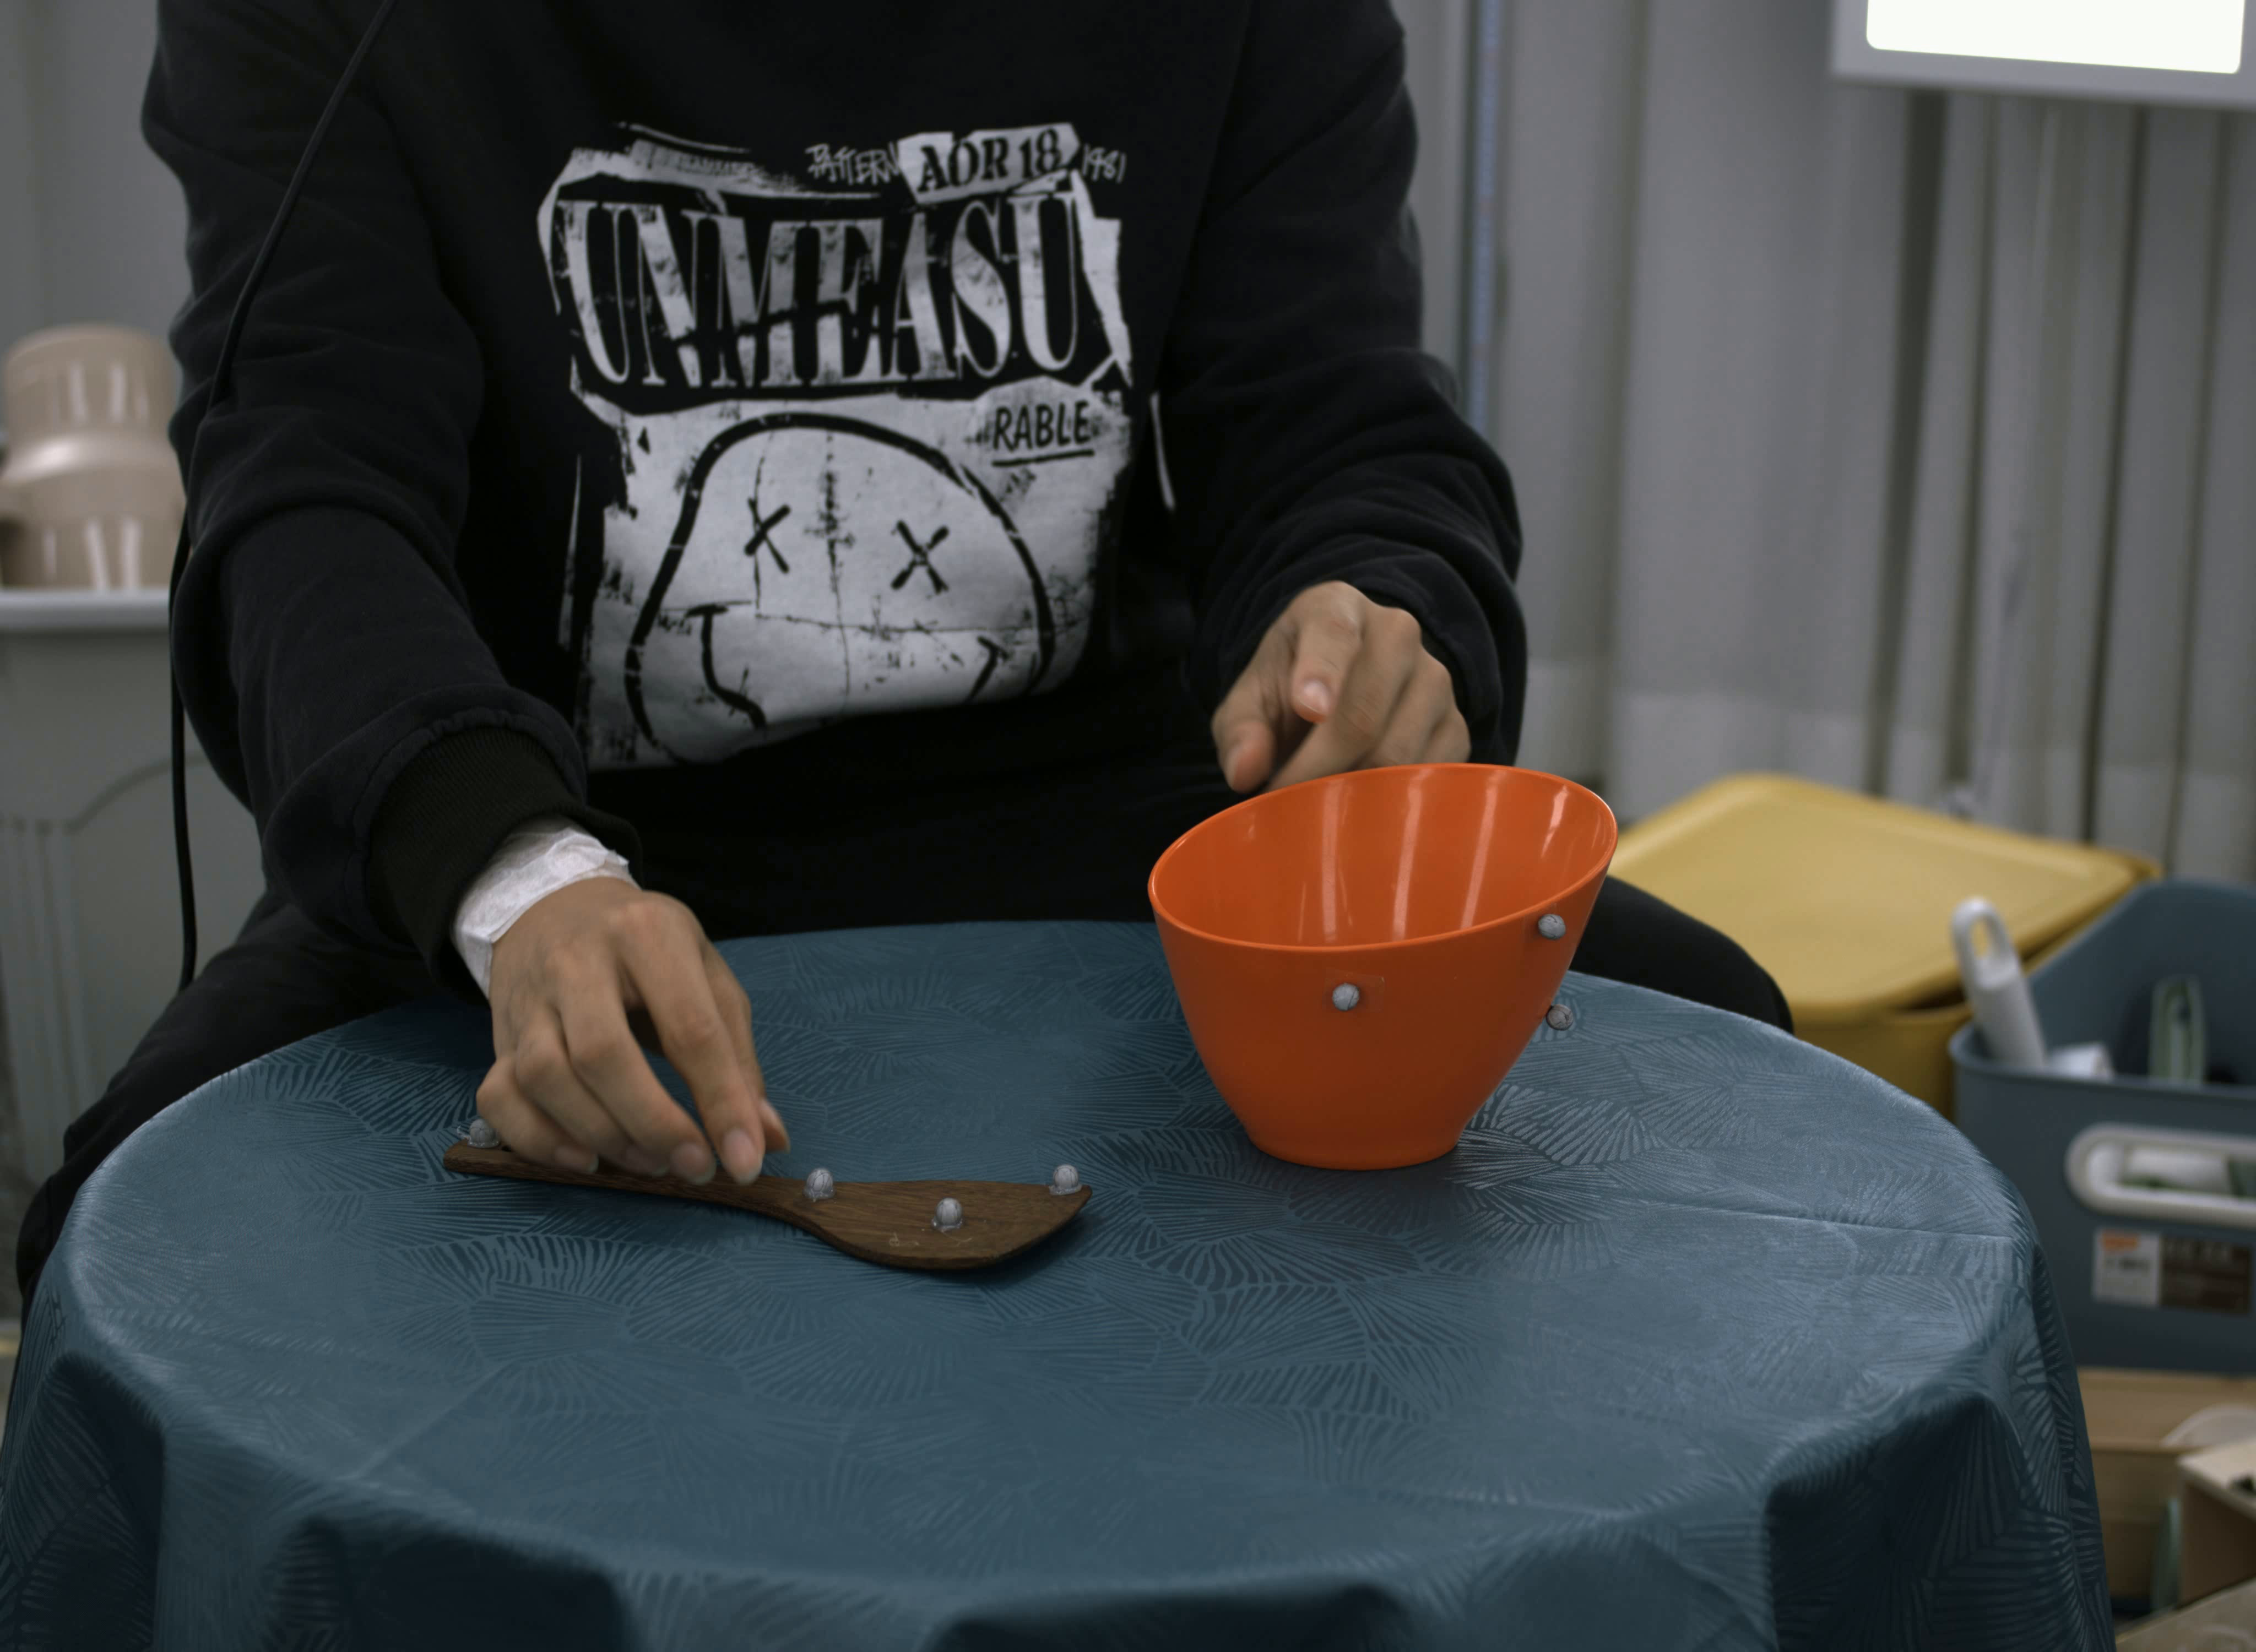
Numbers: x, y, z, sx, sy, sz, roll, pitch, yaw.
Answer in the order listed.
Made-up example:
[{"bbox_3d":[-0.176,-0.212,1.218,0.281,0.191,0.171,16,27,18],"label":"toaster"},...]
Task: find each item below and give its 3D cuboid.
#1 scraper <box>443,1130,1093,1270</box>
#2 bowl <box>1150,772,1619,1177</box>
[{"bbox_3d":[-0.115,0.111,1.611,0.209,0.011,0.076,7,16,23],"label":"scraper"},{"bbox_3d":[0.081,0.050,1.667,0.147,0.105,0.147,1,16,0],"label":"bowl"}]
